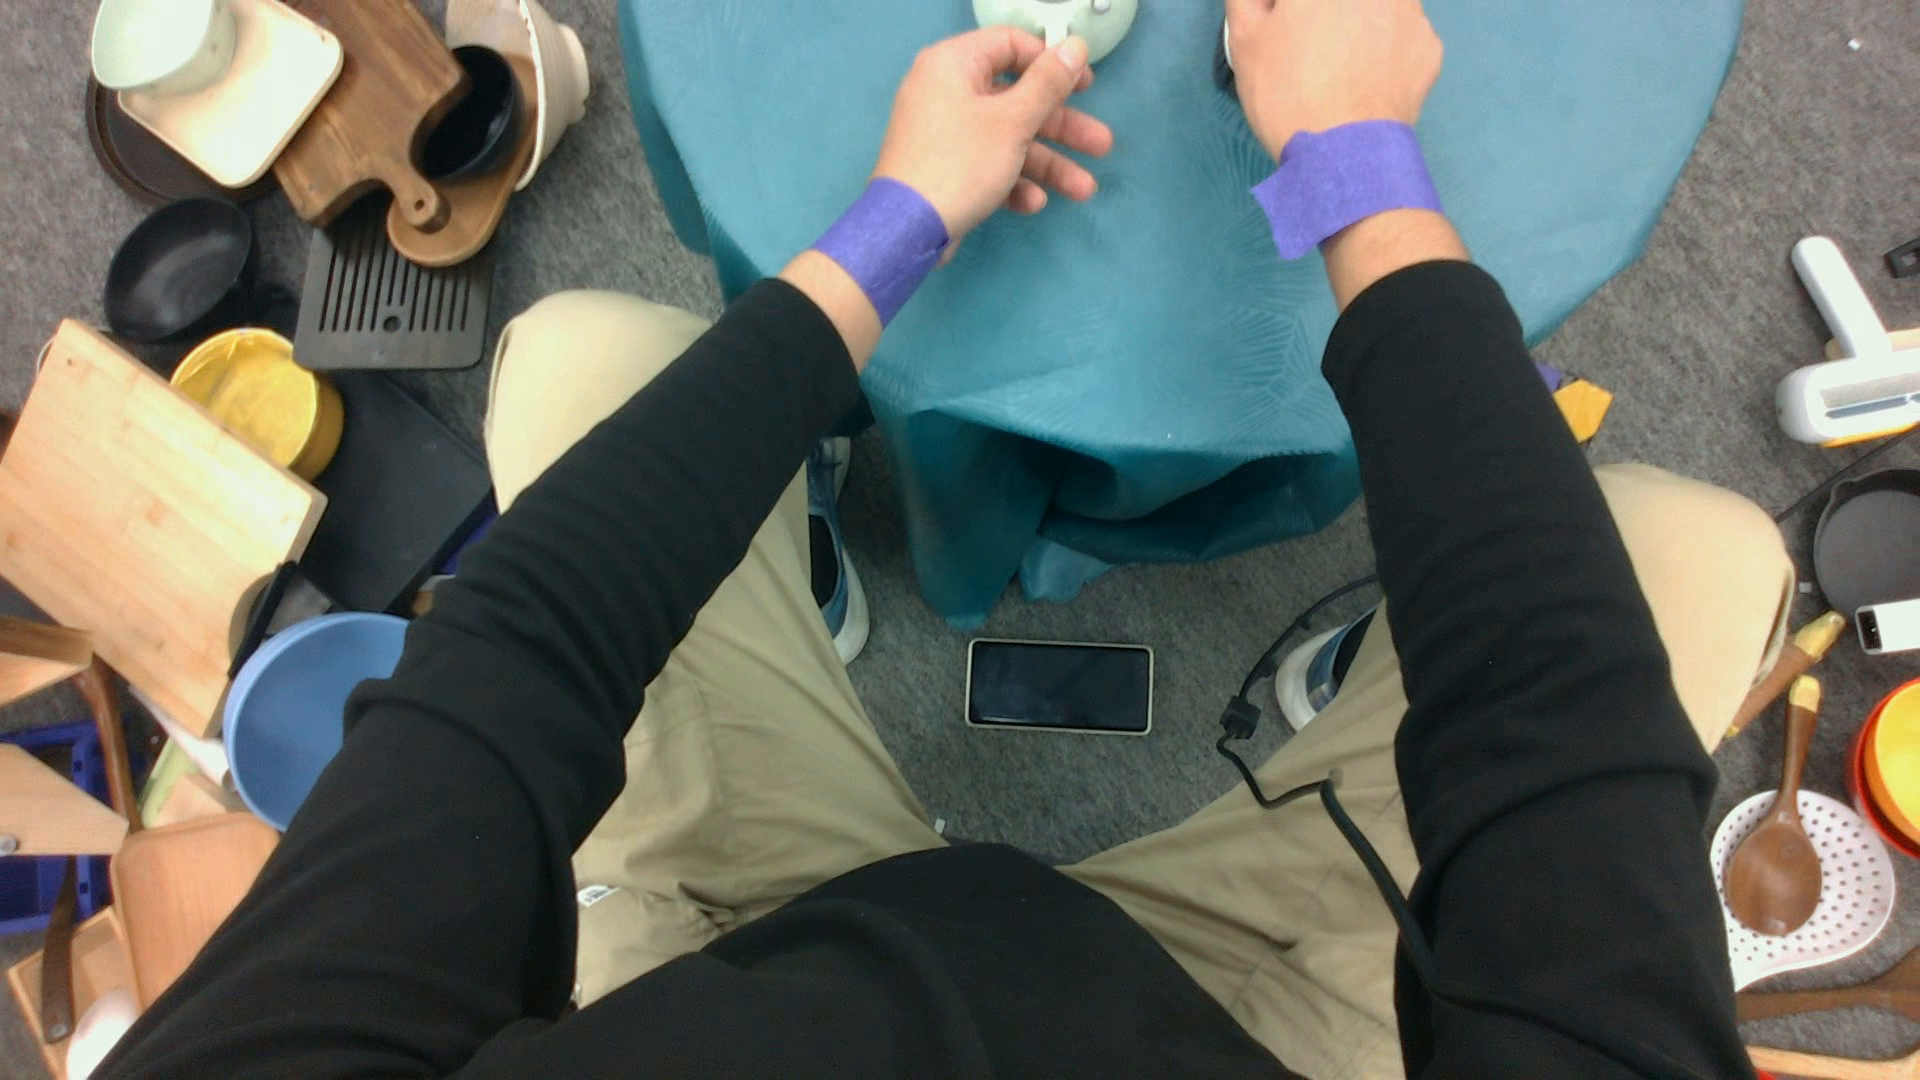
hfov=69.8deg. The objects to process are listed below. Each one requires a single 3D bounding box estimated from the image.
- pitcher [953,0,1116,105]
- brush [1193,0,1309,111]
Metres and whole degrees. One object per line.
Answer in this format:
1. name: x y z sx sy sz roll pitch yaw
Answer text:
1. pitcher: 0.039 -0.276 0.714 0.086 0.060 0.108 -3 85 3
2. brush: 0.153 -0.279 0.696 0.050 0.072 0.099 17 80 5
